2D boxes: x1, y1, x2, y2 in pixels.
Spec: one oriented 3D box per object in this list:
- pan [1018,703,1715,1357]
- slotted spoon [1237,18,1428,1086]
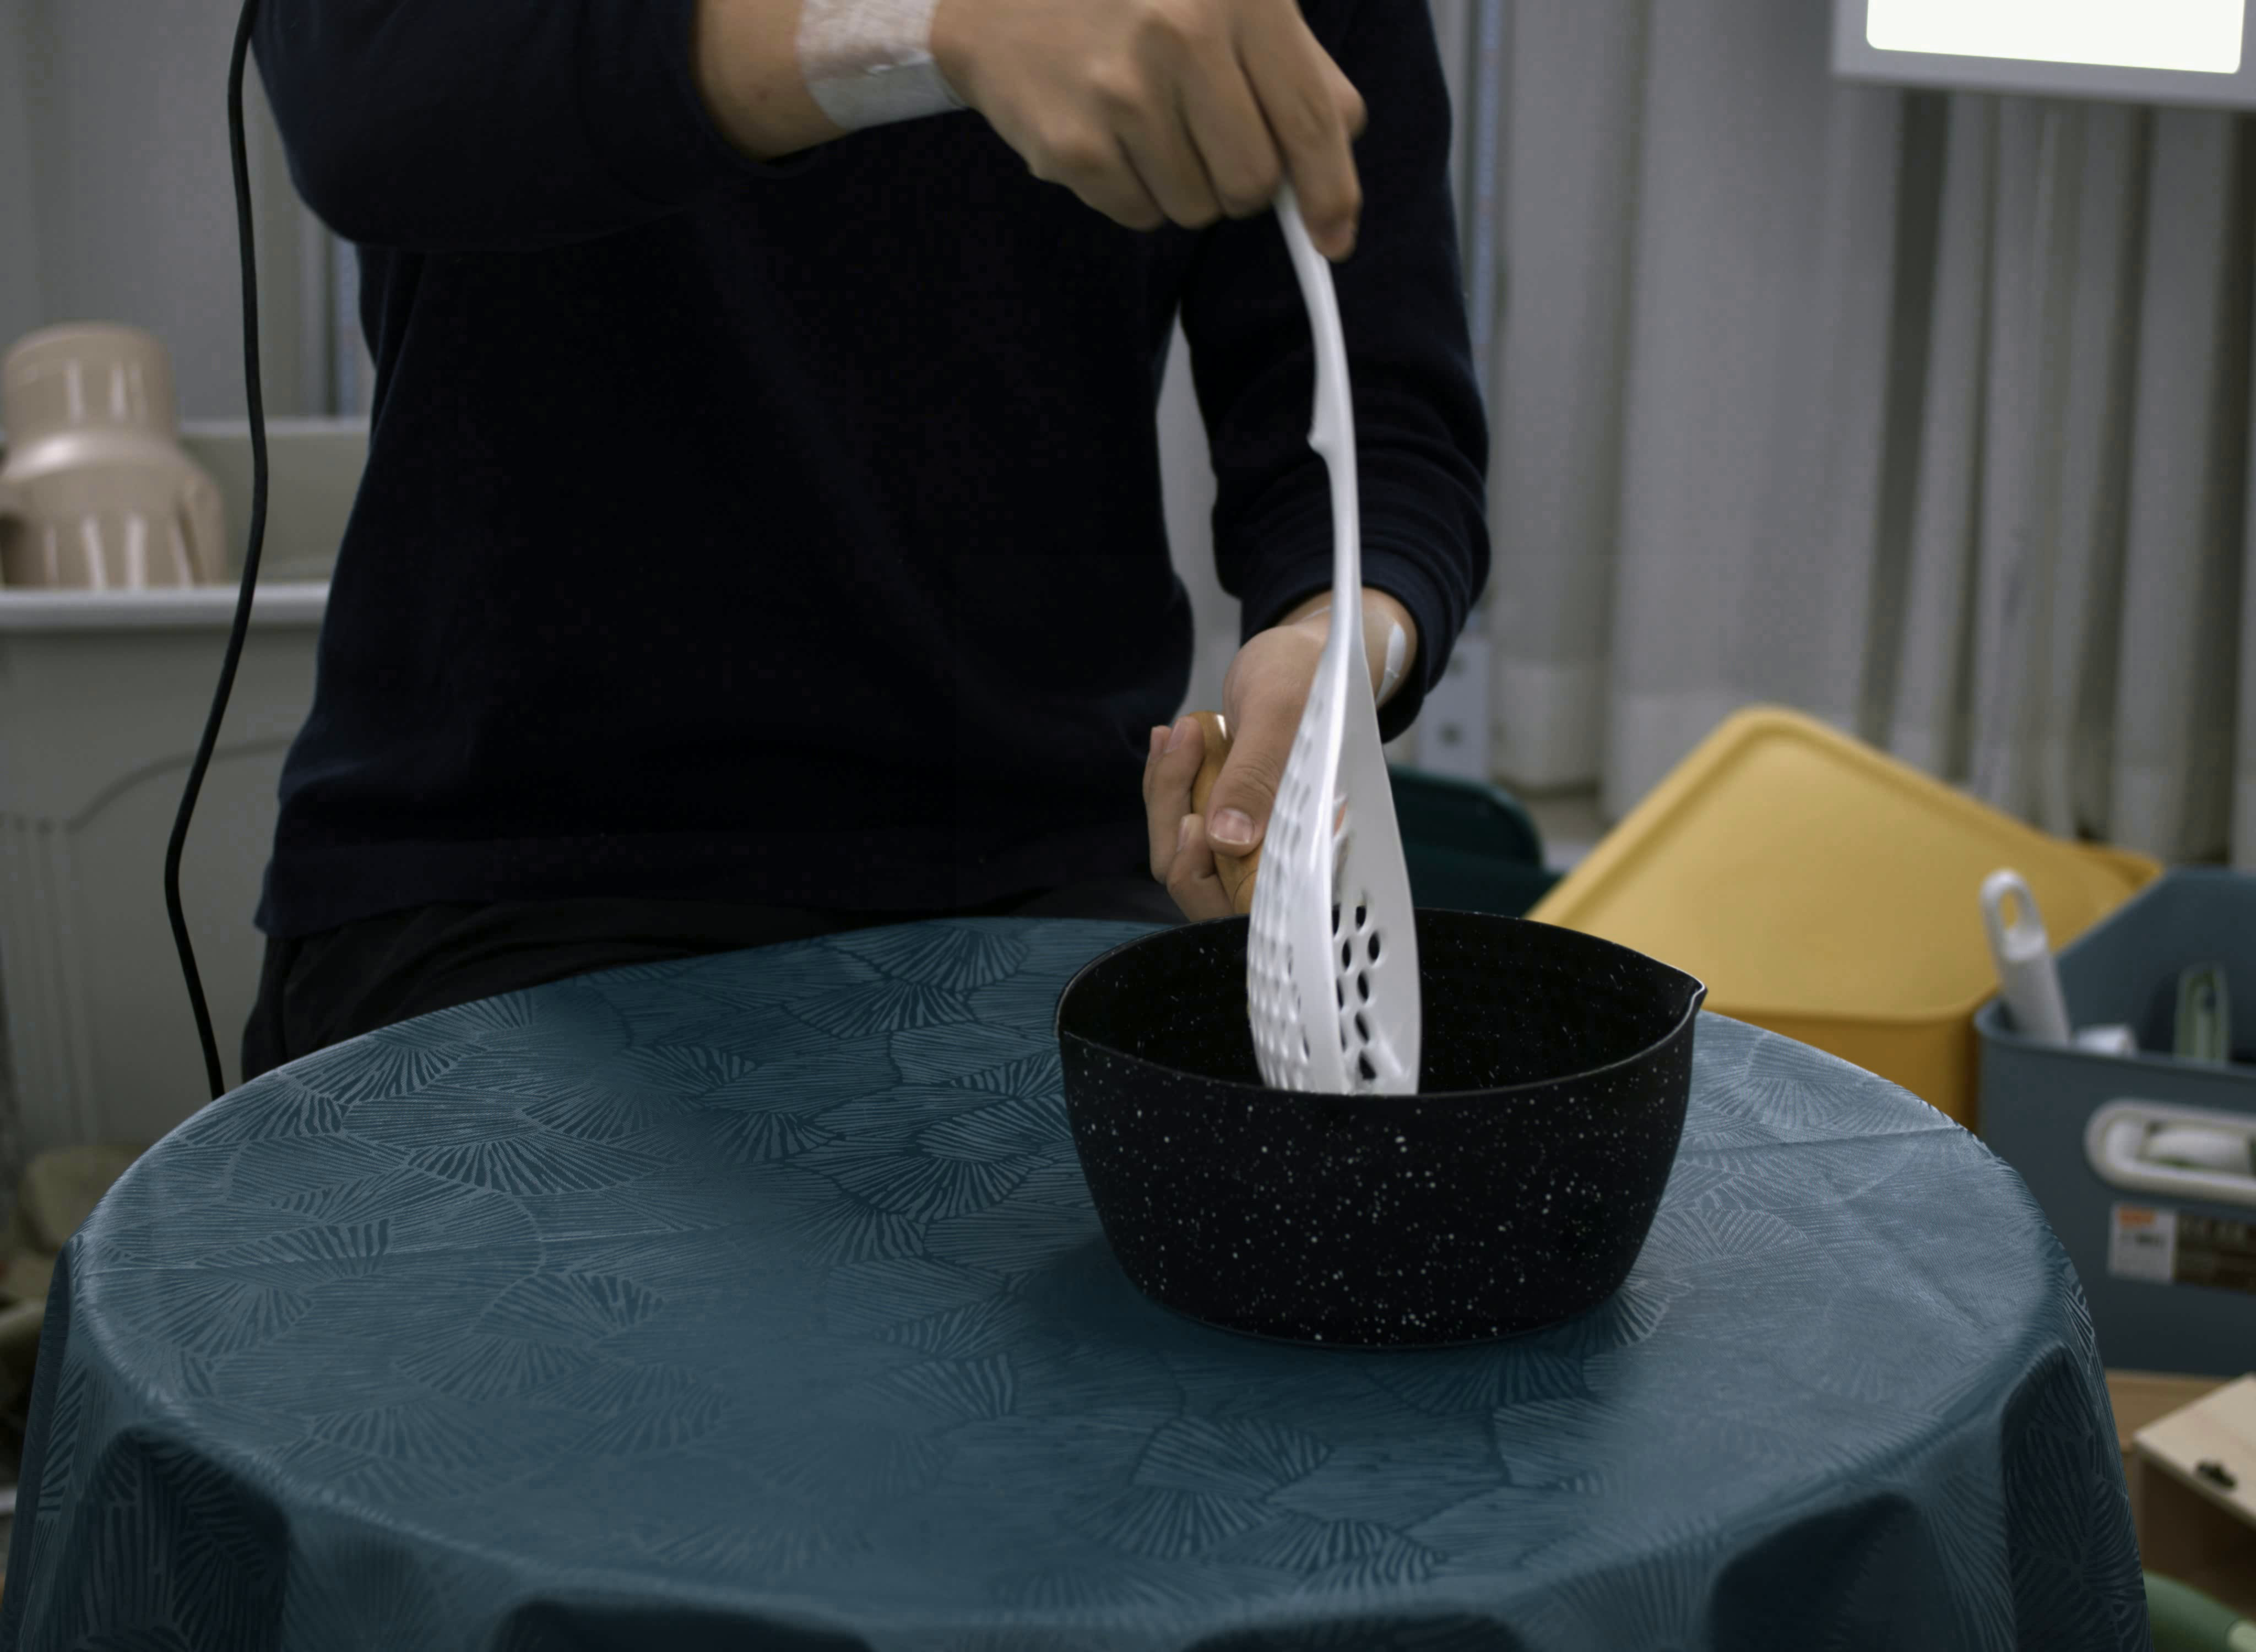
[{"bbox_3d":[0.056,0.057,1.620,0.207,0.109,0.339,-4,18,-12],"label":"pan"},{"bbox_3d":[0.055,-0.055,1.508,0.050,0.351,0.136,4,16,11],"label":"slotted spoon"}]
